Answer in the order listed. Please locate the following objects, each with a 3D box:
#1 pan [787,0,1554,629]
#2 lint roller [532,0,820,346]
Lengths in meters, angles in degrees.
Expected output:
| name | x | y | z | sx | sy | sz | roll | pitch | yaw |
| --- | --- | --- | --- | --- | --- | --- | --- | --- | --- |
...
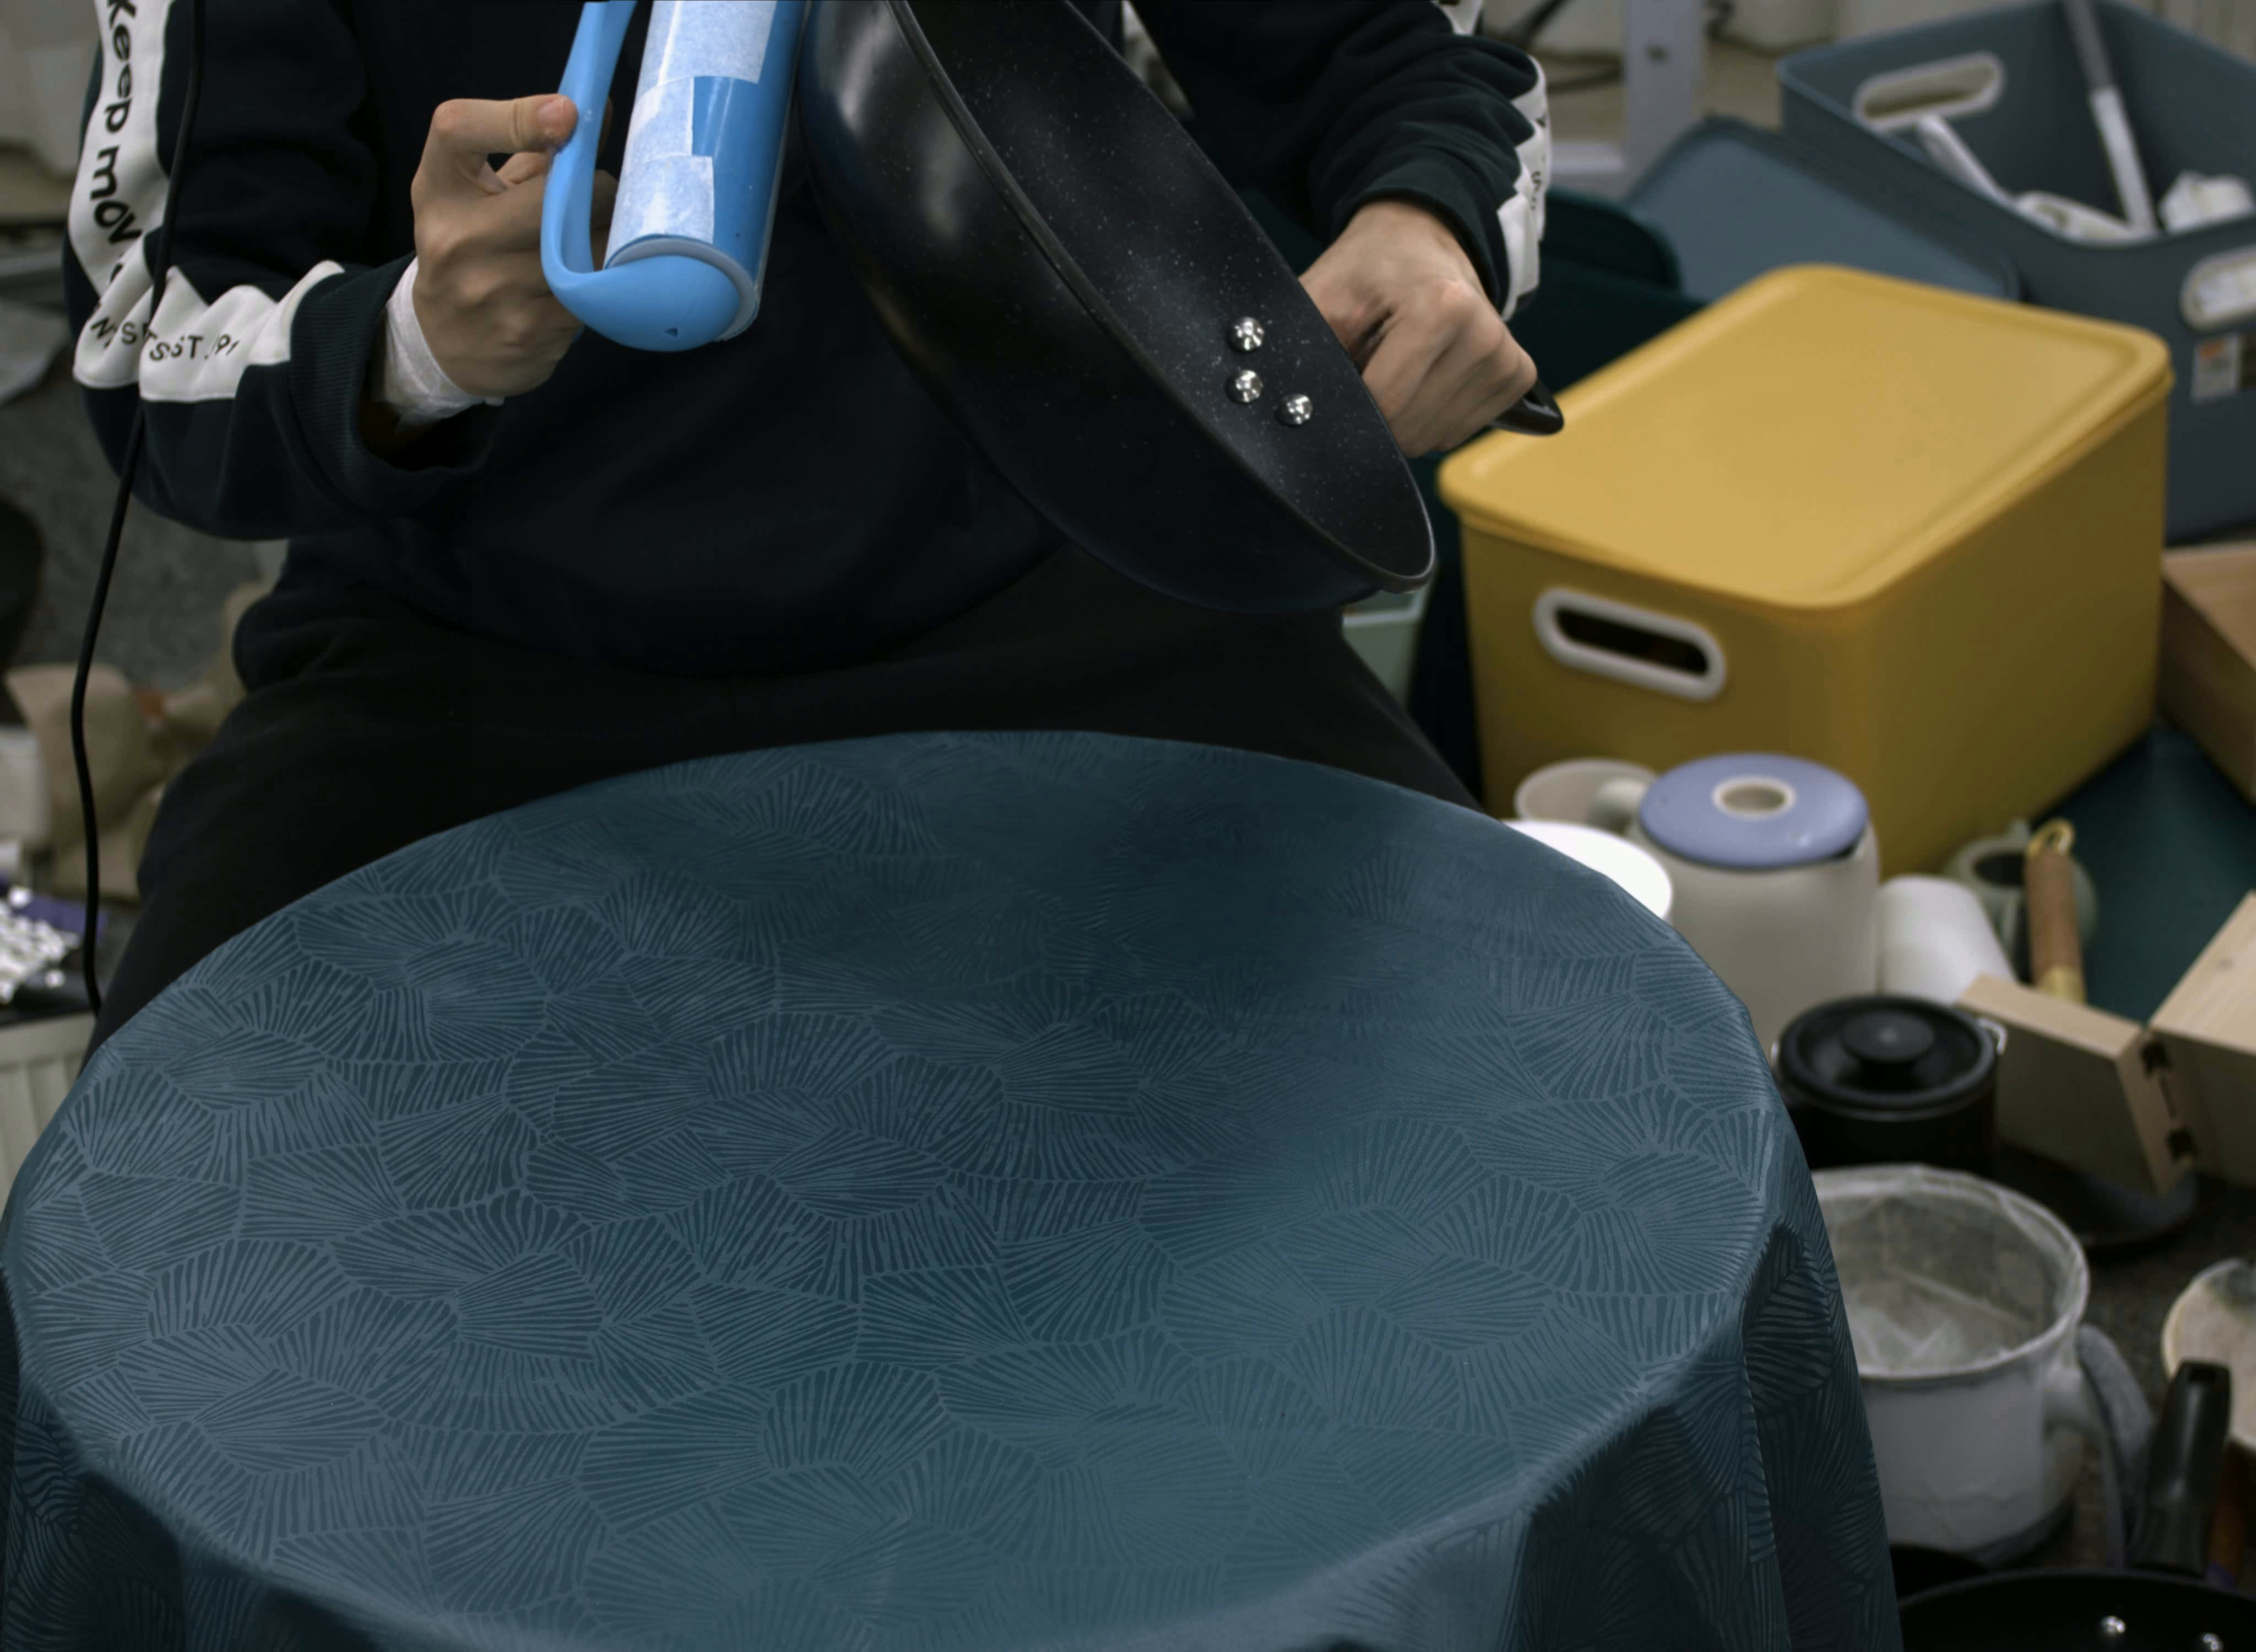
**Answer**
| name | x | y | z | sx | sy | sz | roll | pitch | yaw |
| --- | --- | --- | --- | --- | --- | --- | --- | --- | --- |
| pan | 0.020 | -0.174 | 2.024 | 0.313 | 0.110 | 0.476 | 60 | 17 | 22 |
| lint roller | -0.172 | -0.228 | 1.964 | 0.067 | 0.177 | 0.233 | 26 | 45 | -27 |
